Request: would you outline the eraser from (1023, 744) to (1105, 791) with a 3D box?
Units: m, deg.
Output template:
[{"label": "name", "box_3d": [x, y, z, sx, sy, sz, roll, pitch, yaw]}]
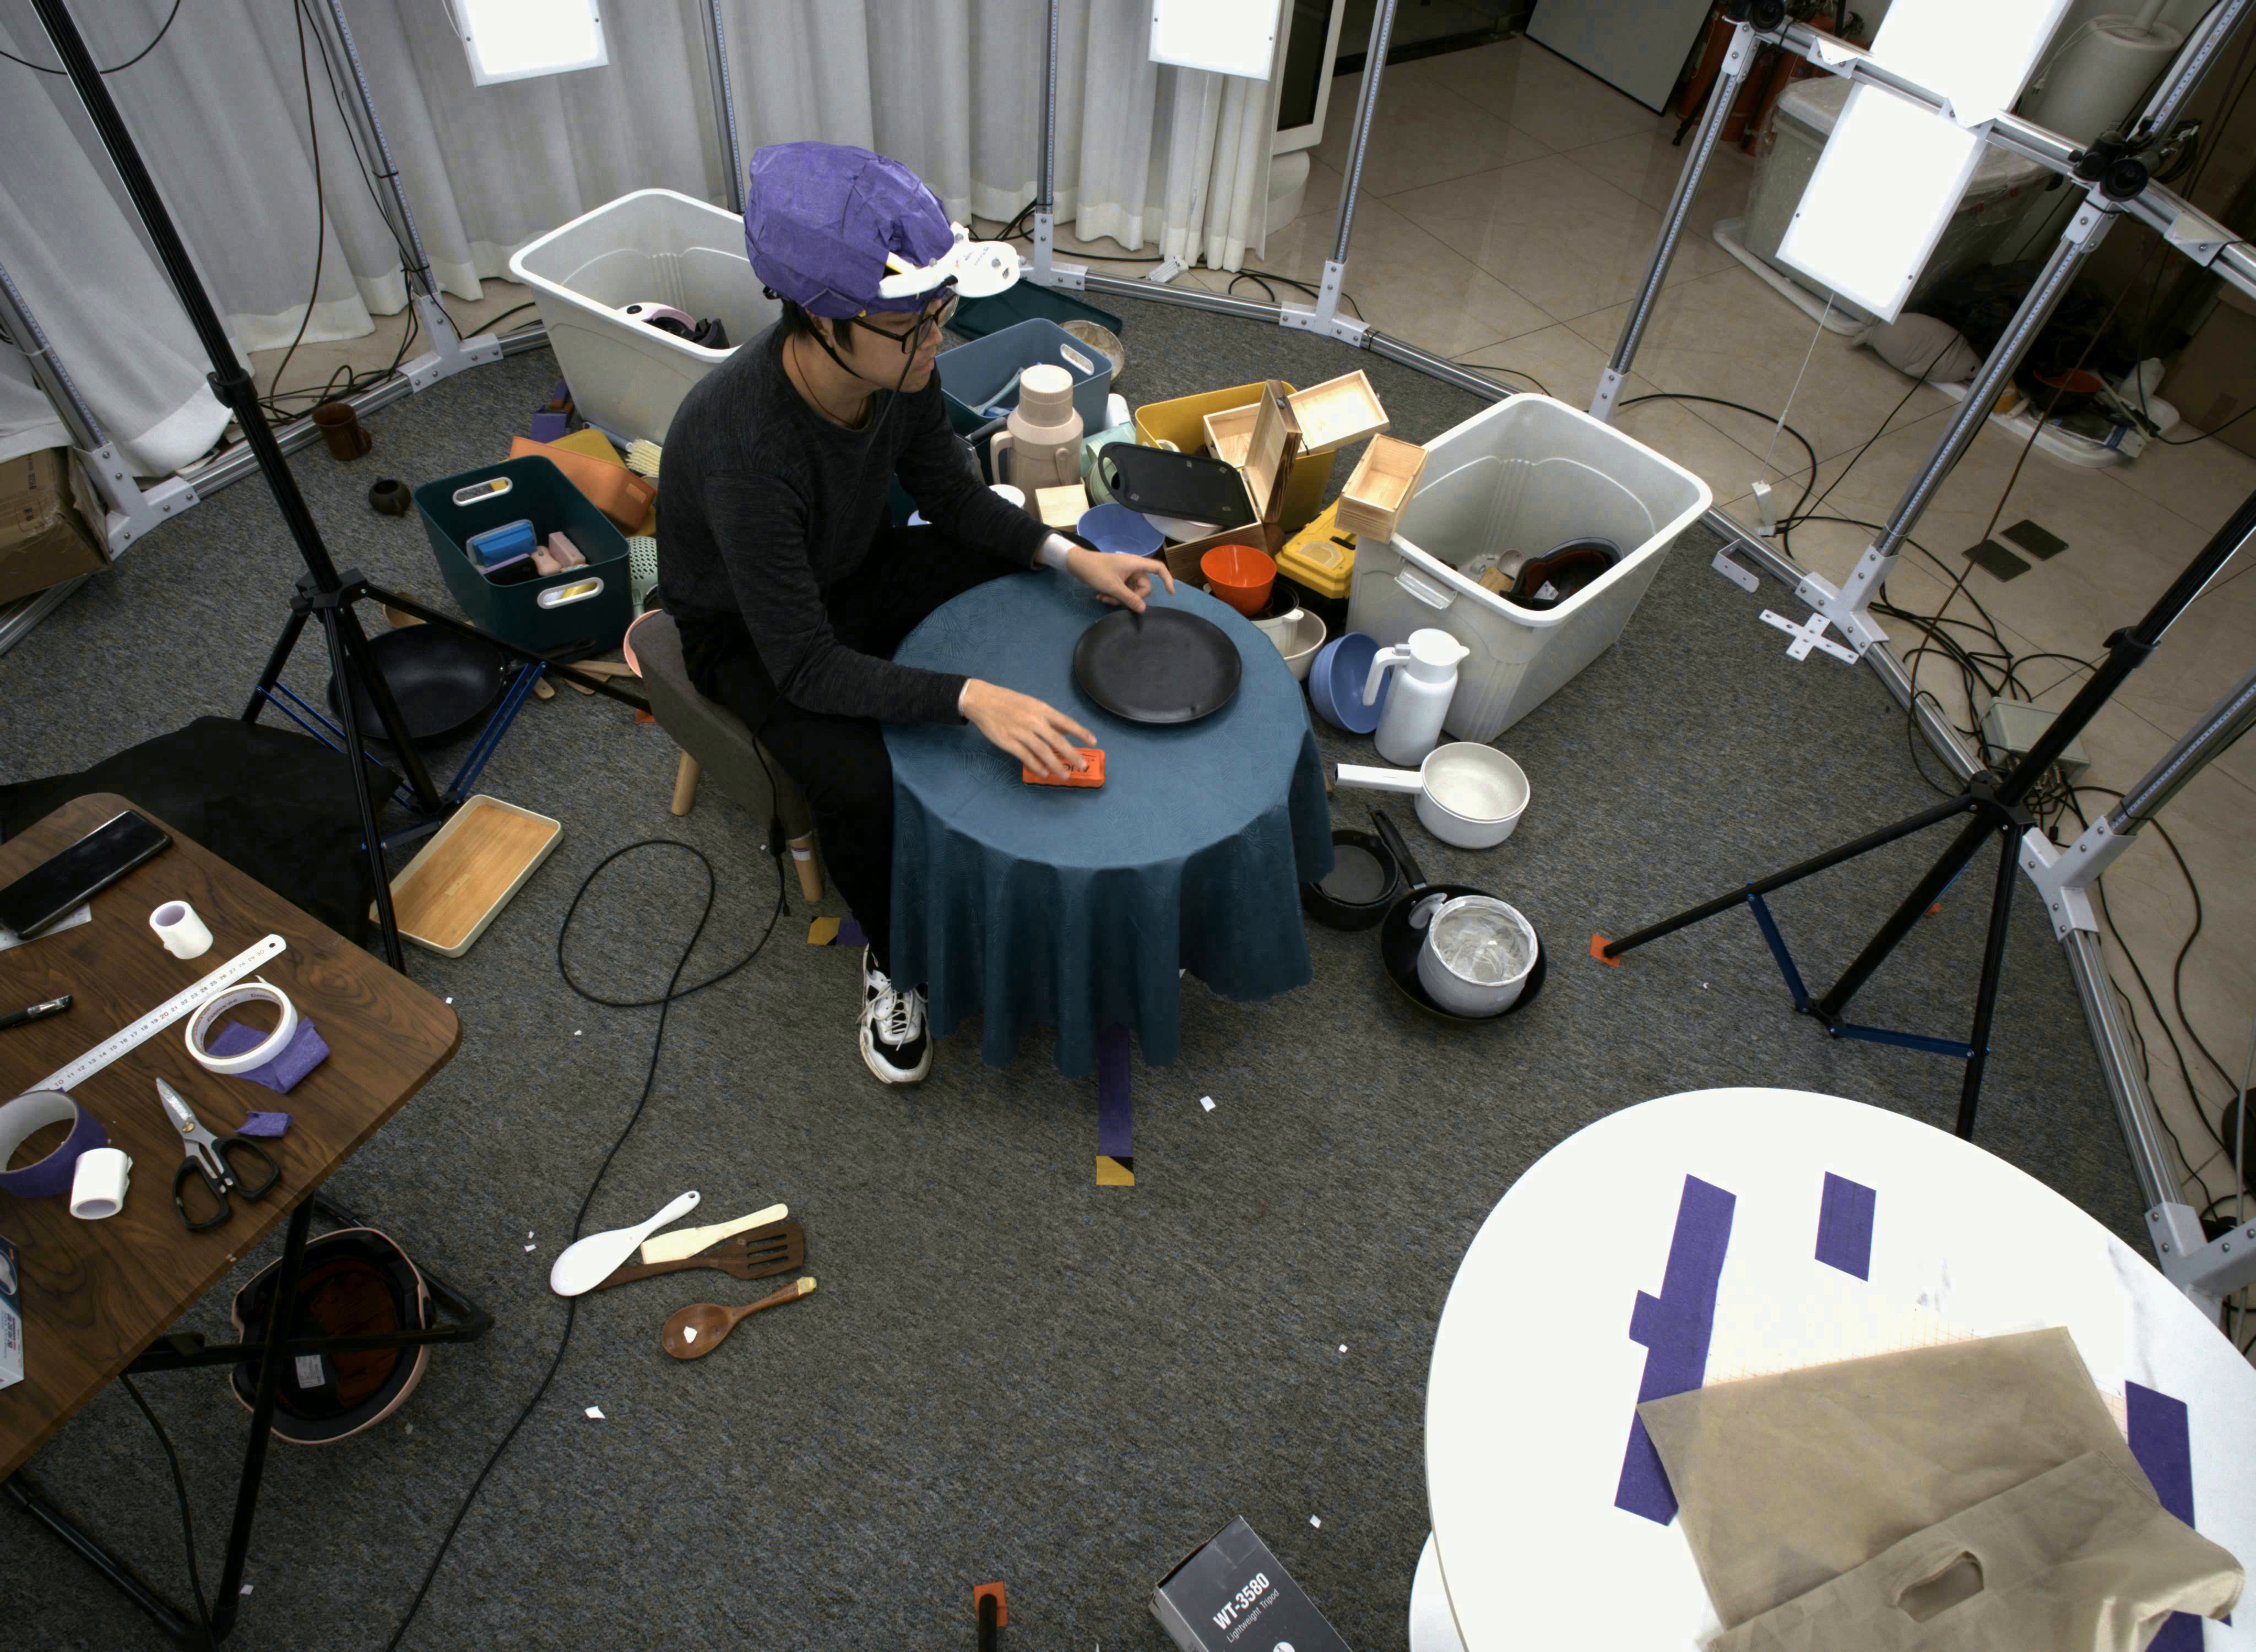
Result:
[{"label": "eraser", "box_3d": [-0.086, -0.079, 1.717, 0.108, 0.022, 0.060, 5, 48, 0]}]

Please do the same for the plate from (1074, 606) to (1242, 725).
[{"label": "plate", "box_3d": [0.044, -0.230, 1.857, 0.244, 0.023, 0.250, 2, 49, -2]}]
